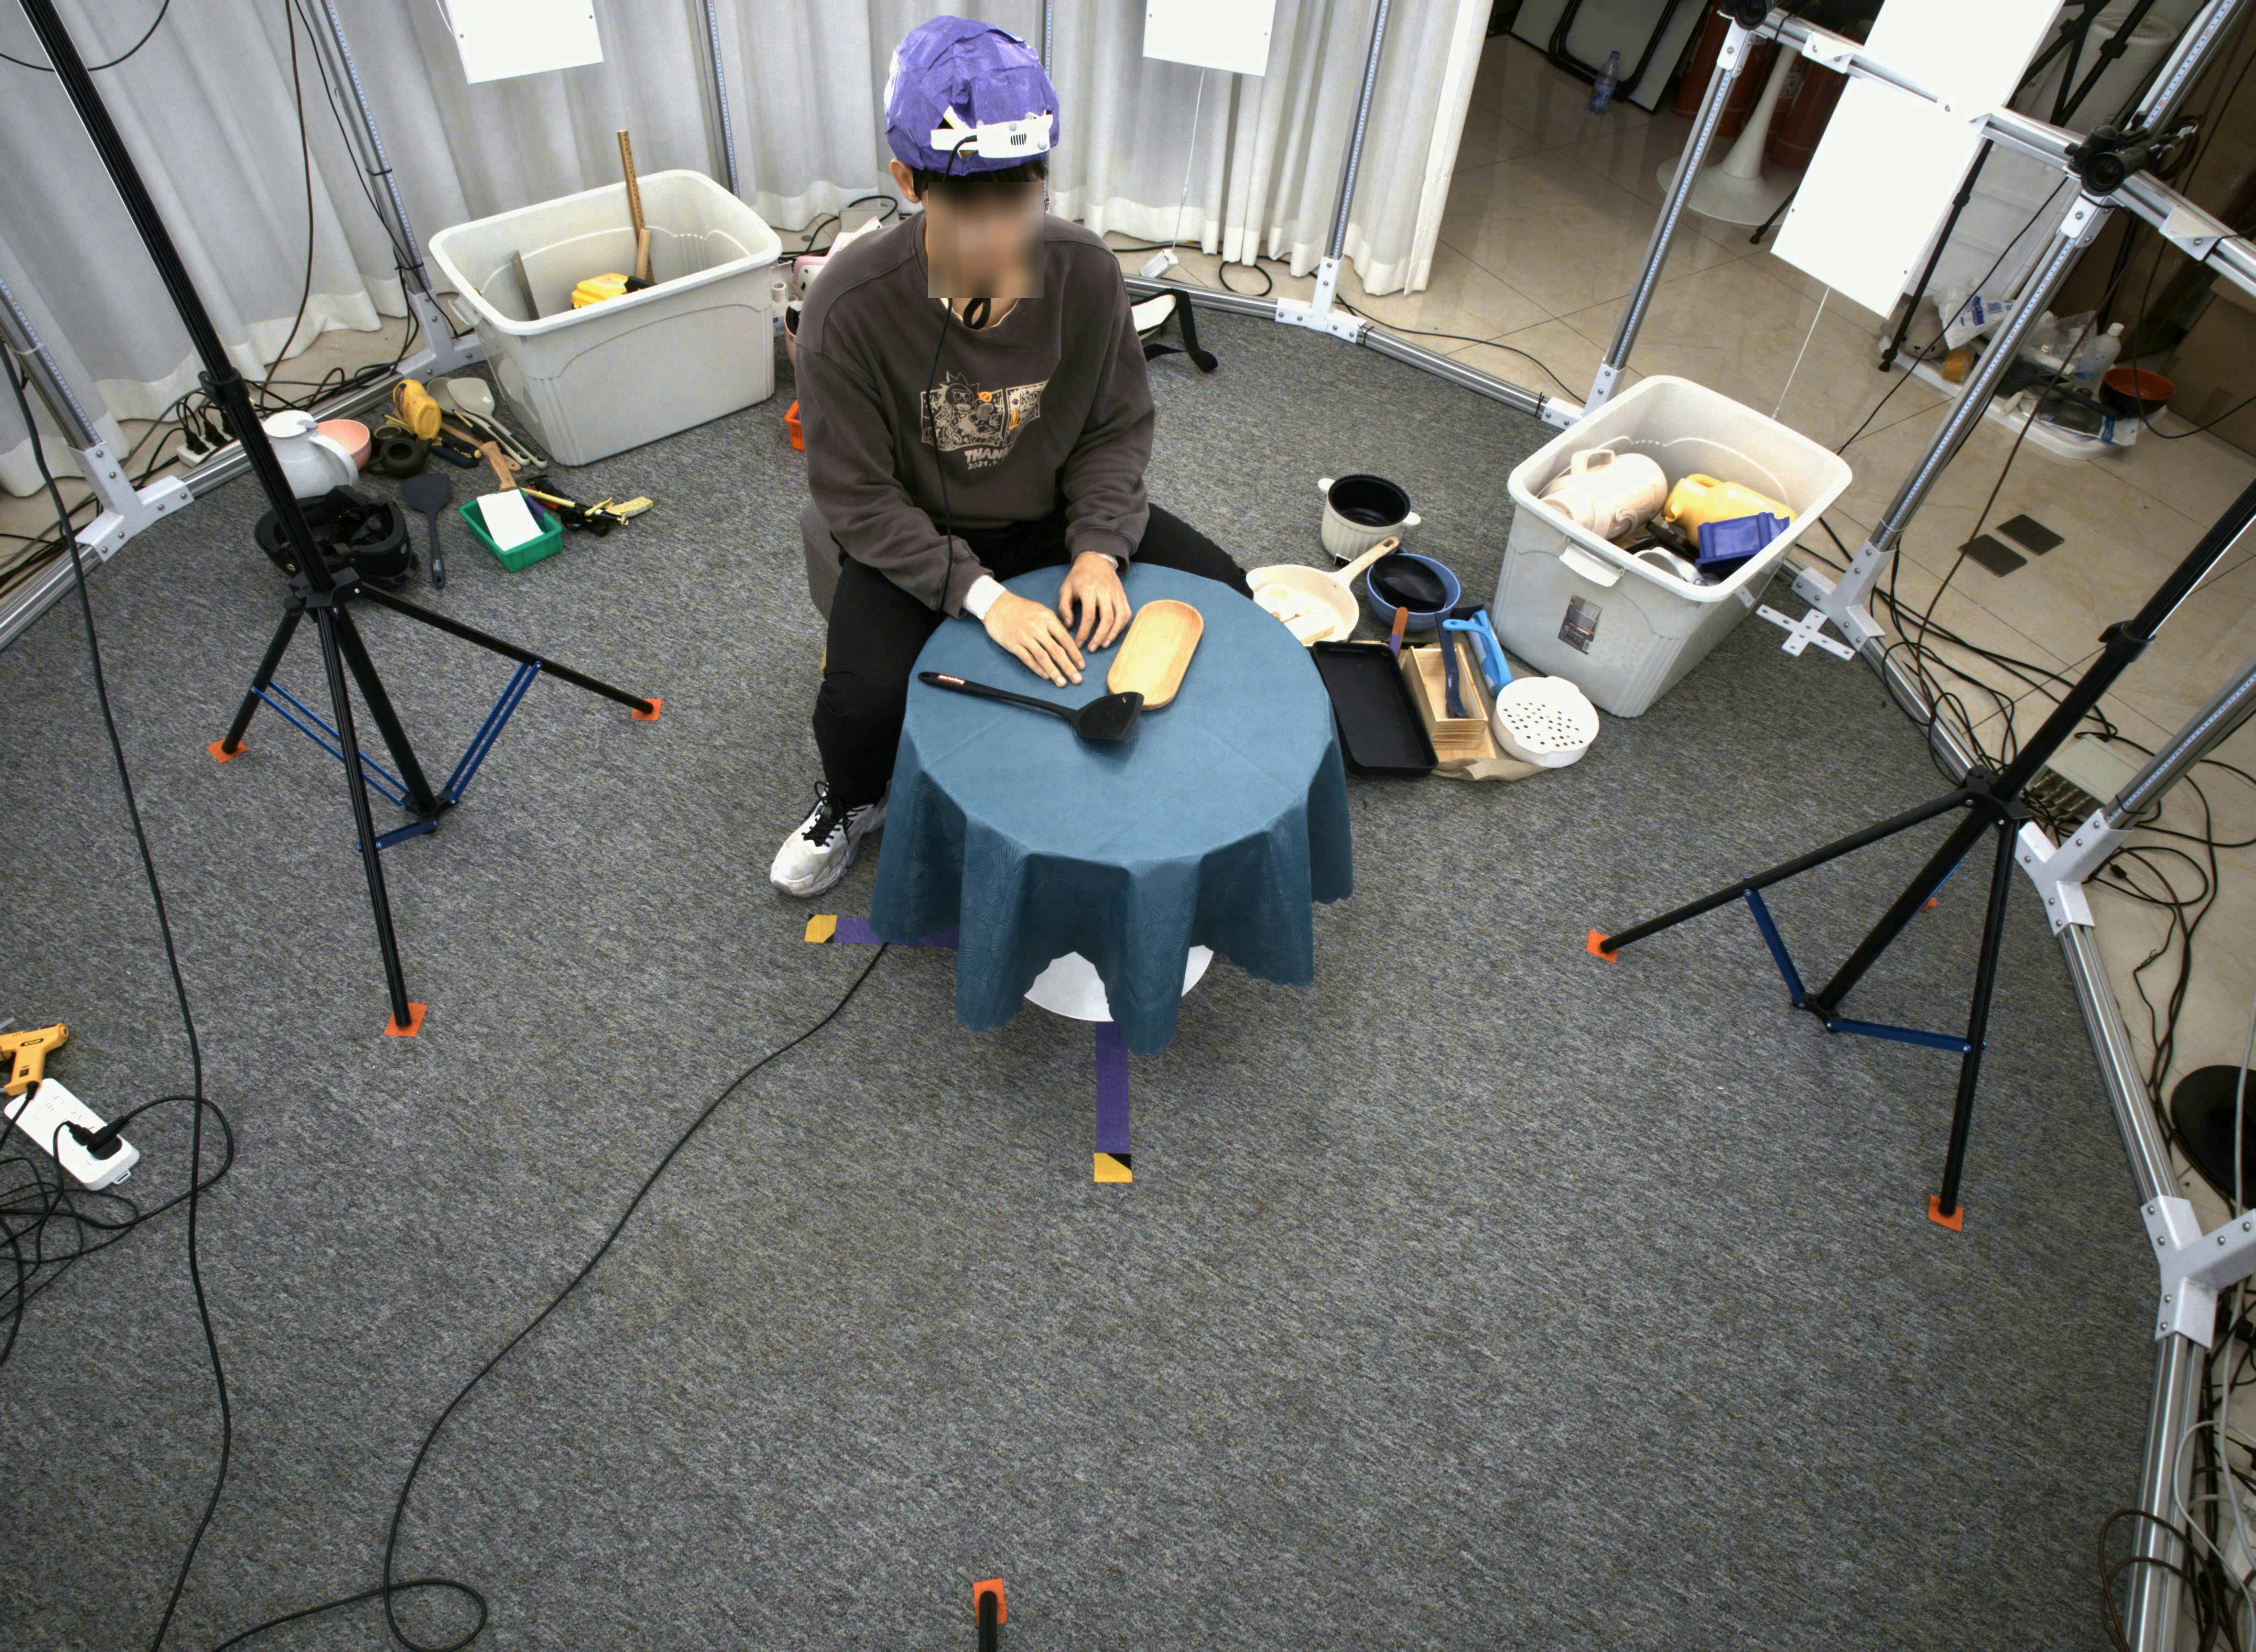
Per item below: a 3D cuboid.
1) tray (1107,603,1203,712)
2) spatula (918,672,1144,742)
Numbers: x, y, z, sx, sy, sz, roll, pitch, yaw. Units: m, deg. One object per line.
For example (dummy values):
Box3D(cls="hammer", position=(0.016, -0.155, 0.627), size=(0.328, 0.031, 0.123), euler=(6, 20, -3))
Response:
Box3D(cls="tray", position=(0.041, -0.249, 1.874), size=(0.102, 0.020, 0.236), euler=(15, 51, 10))
Box3D(cls="spatula", position=(-0.141, -0.180, 1.790), size=(0.327, 0.039, 0.102), euler=(16, 48, 10))
